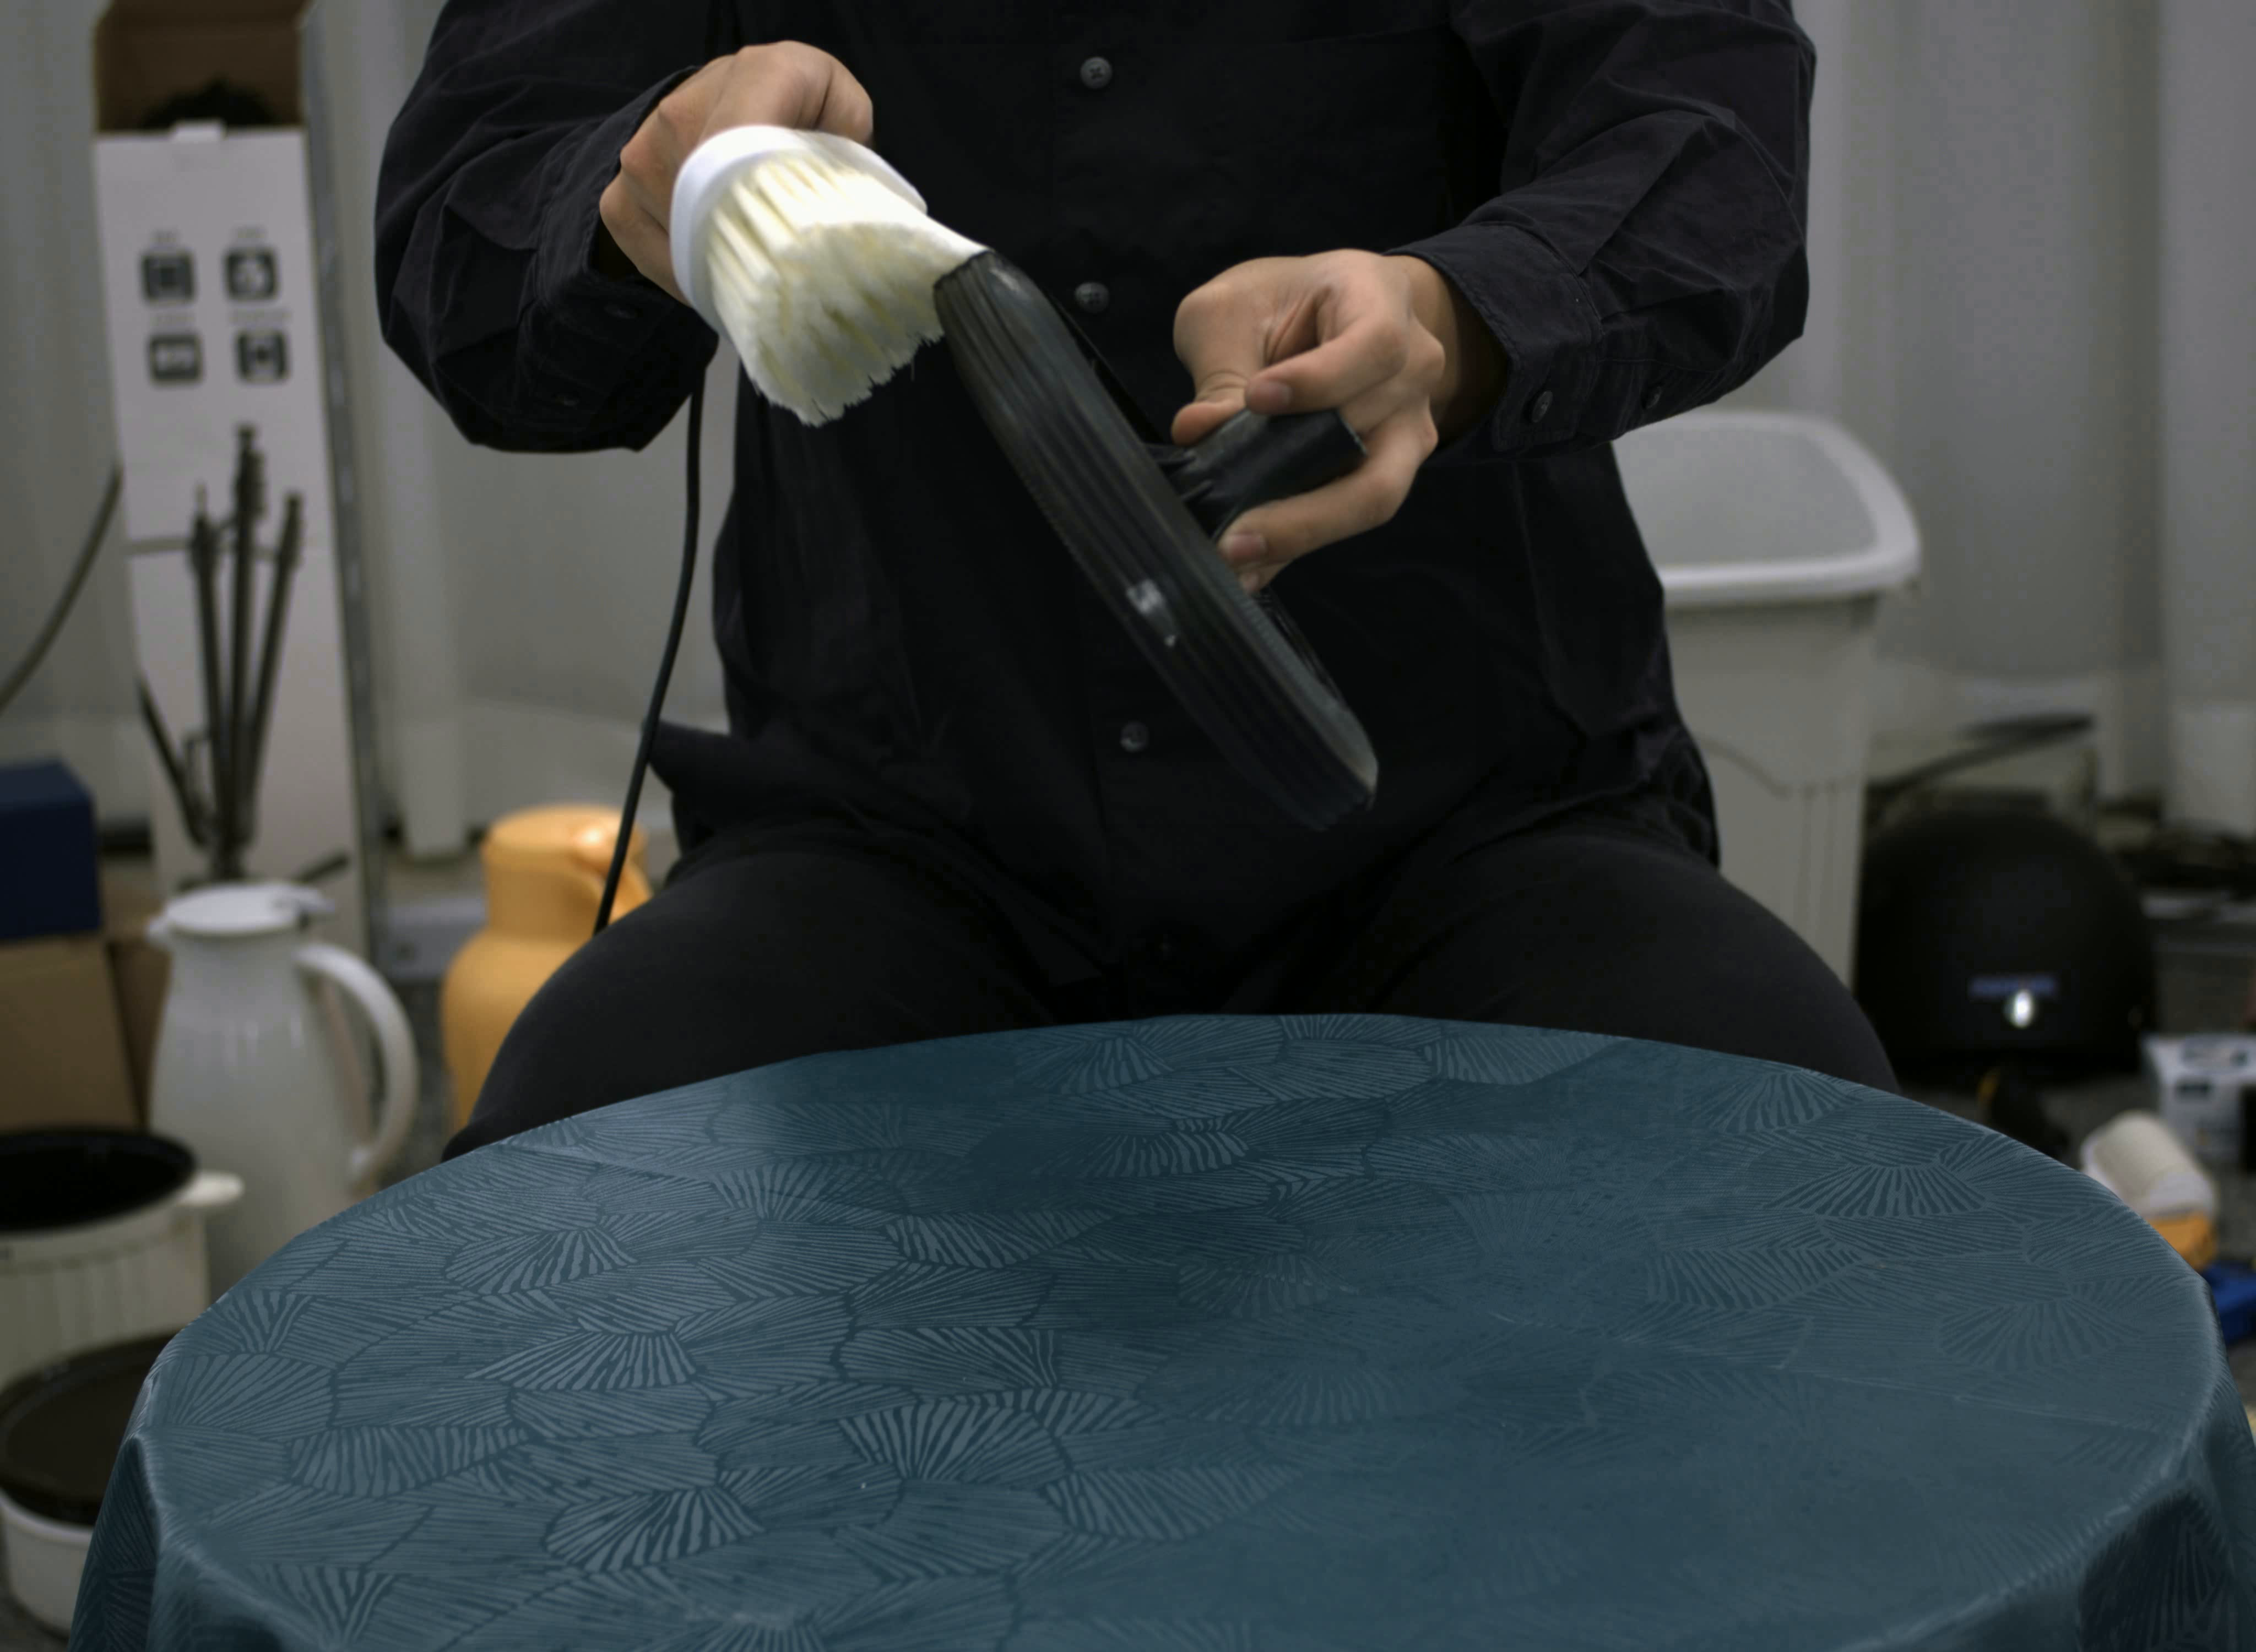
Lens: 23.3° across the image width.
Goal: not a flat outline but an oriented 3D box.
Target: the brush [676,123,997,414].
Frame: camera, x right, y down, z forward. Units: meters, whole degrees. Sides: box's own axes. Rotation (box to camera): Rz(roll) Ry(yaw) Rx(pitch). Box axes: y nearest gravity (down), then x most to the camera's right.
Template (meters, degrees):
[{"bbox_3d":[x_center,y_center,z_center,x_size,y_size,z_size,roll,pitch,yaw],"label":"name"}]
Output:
[{"bbox_3d":[-0.076,-0.164,1.618,0.083,0.085,0.325,-5,3,3],"label":"brush"}]

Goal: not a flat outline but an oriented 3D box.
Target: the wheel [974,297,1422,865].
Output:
[{"bbox_3d":[0.037,-0.082,1.539,0.079,0.185,0.192,-37,42,4],"label":"wheel"}]
